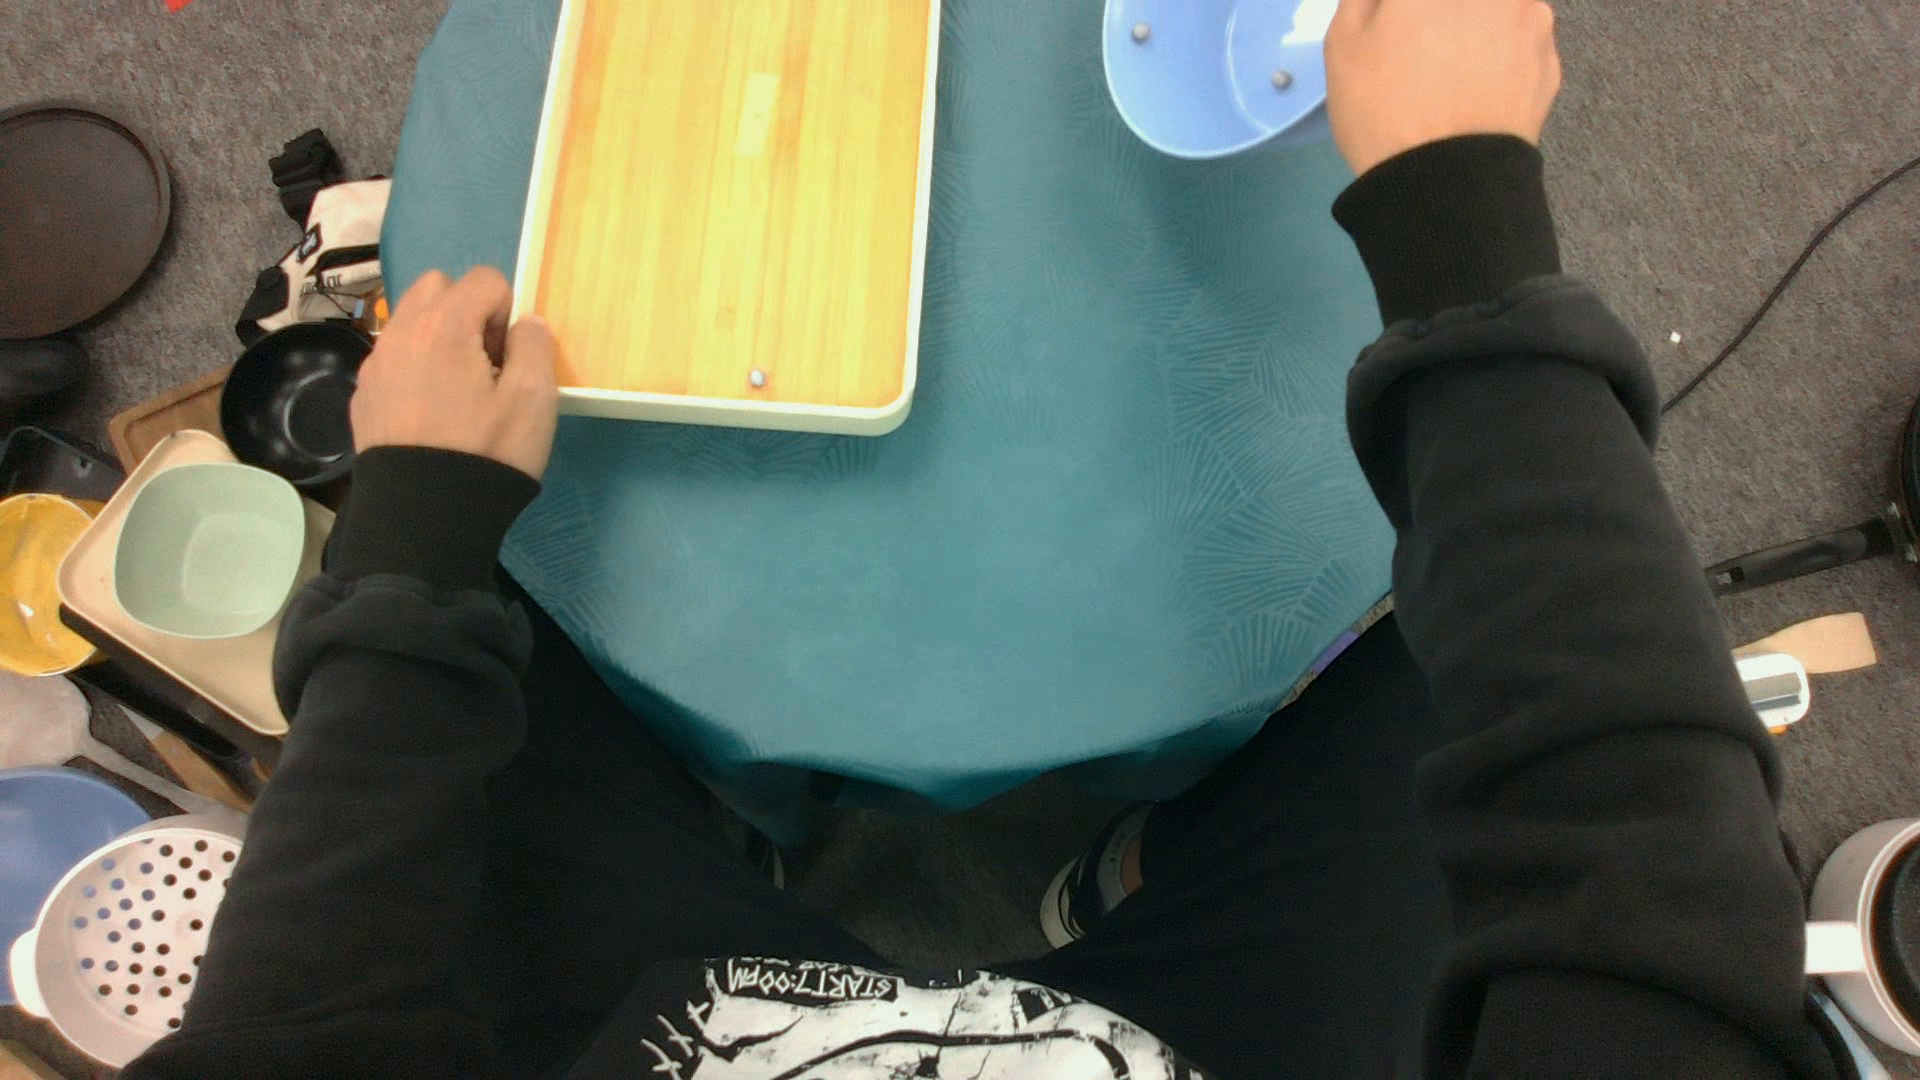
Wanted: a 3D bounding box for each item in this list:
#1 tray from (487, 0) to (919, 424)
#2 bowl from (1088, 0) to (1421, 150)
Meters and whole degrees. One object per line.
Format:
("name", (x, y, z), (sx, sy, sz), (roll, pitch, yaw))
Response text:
("tray", (-0.120, -0.203, 0.696), (0.191, 0.027, 0.301), (3, 70, -3))
("bowl", (0.145, -0.254, 0.634), (0.070, 0.175, 0.176), (14, 73, -42))
